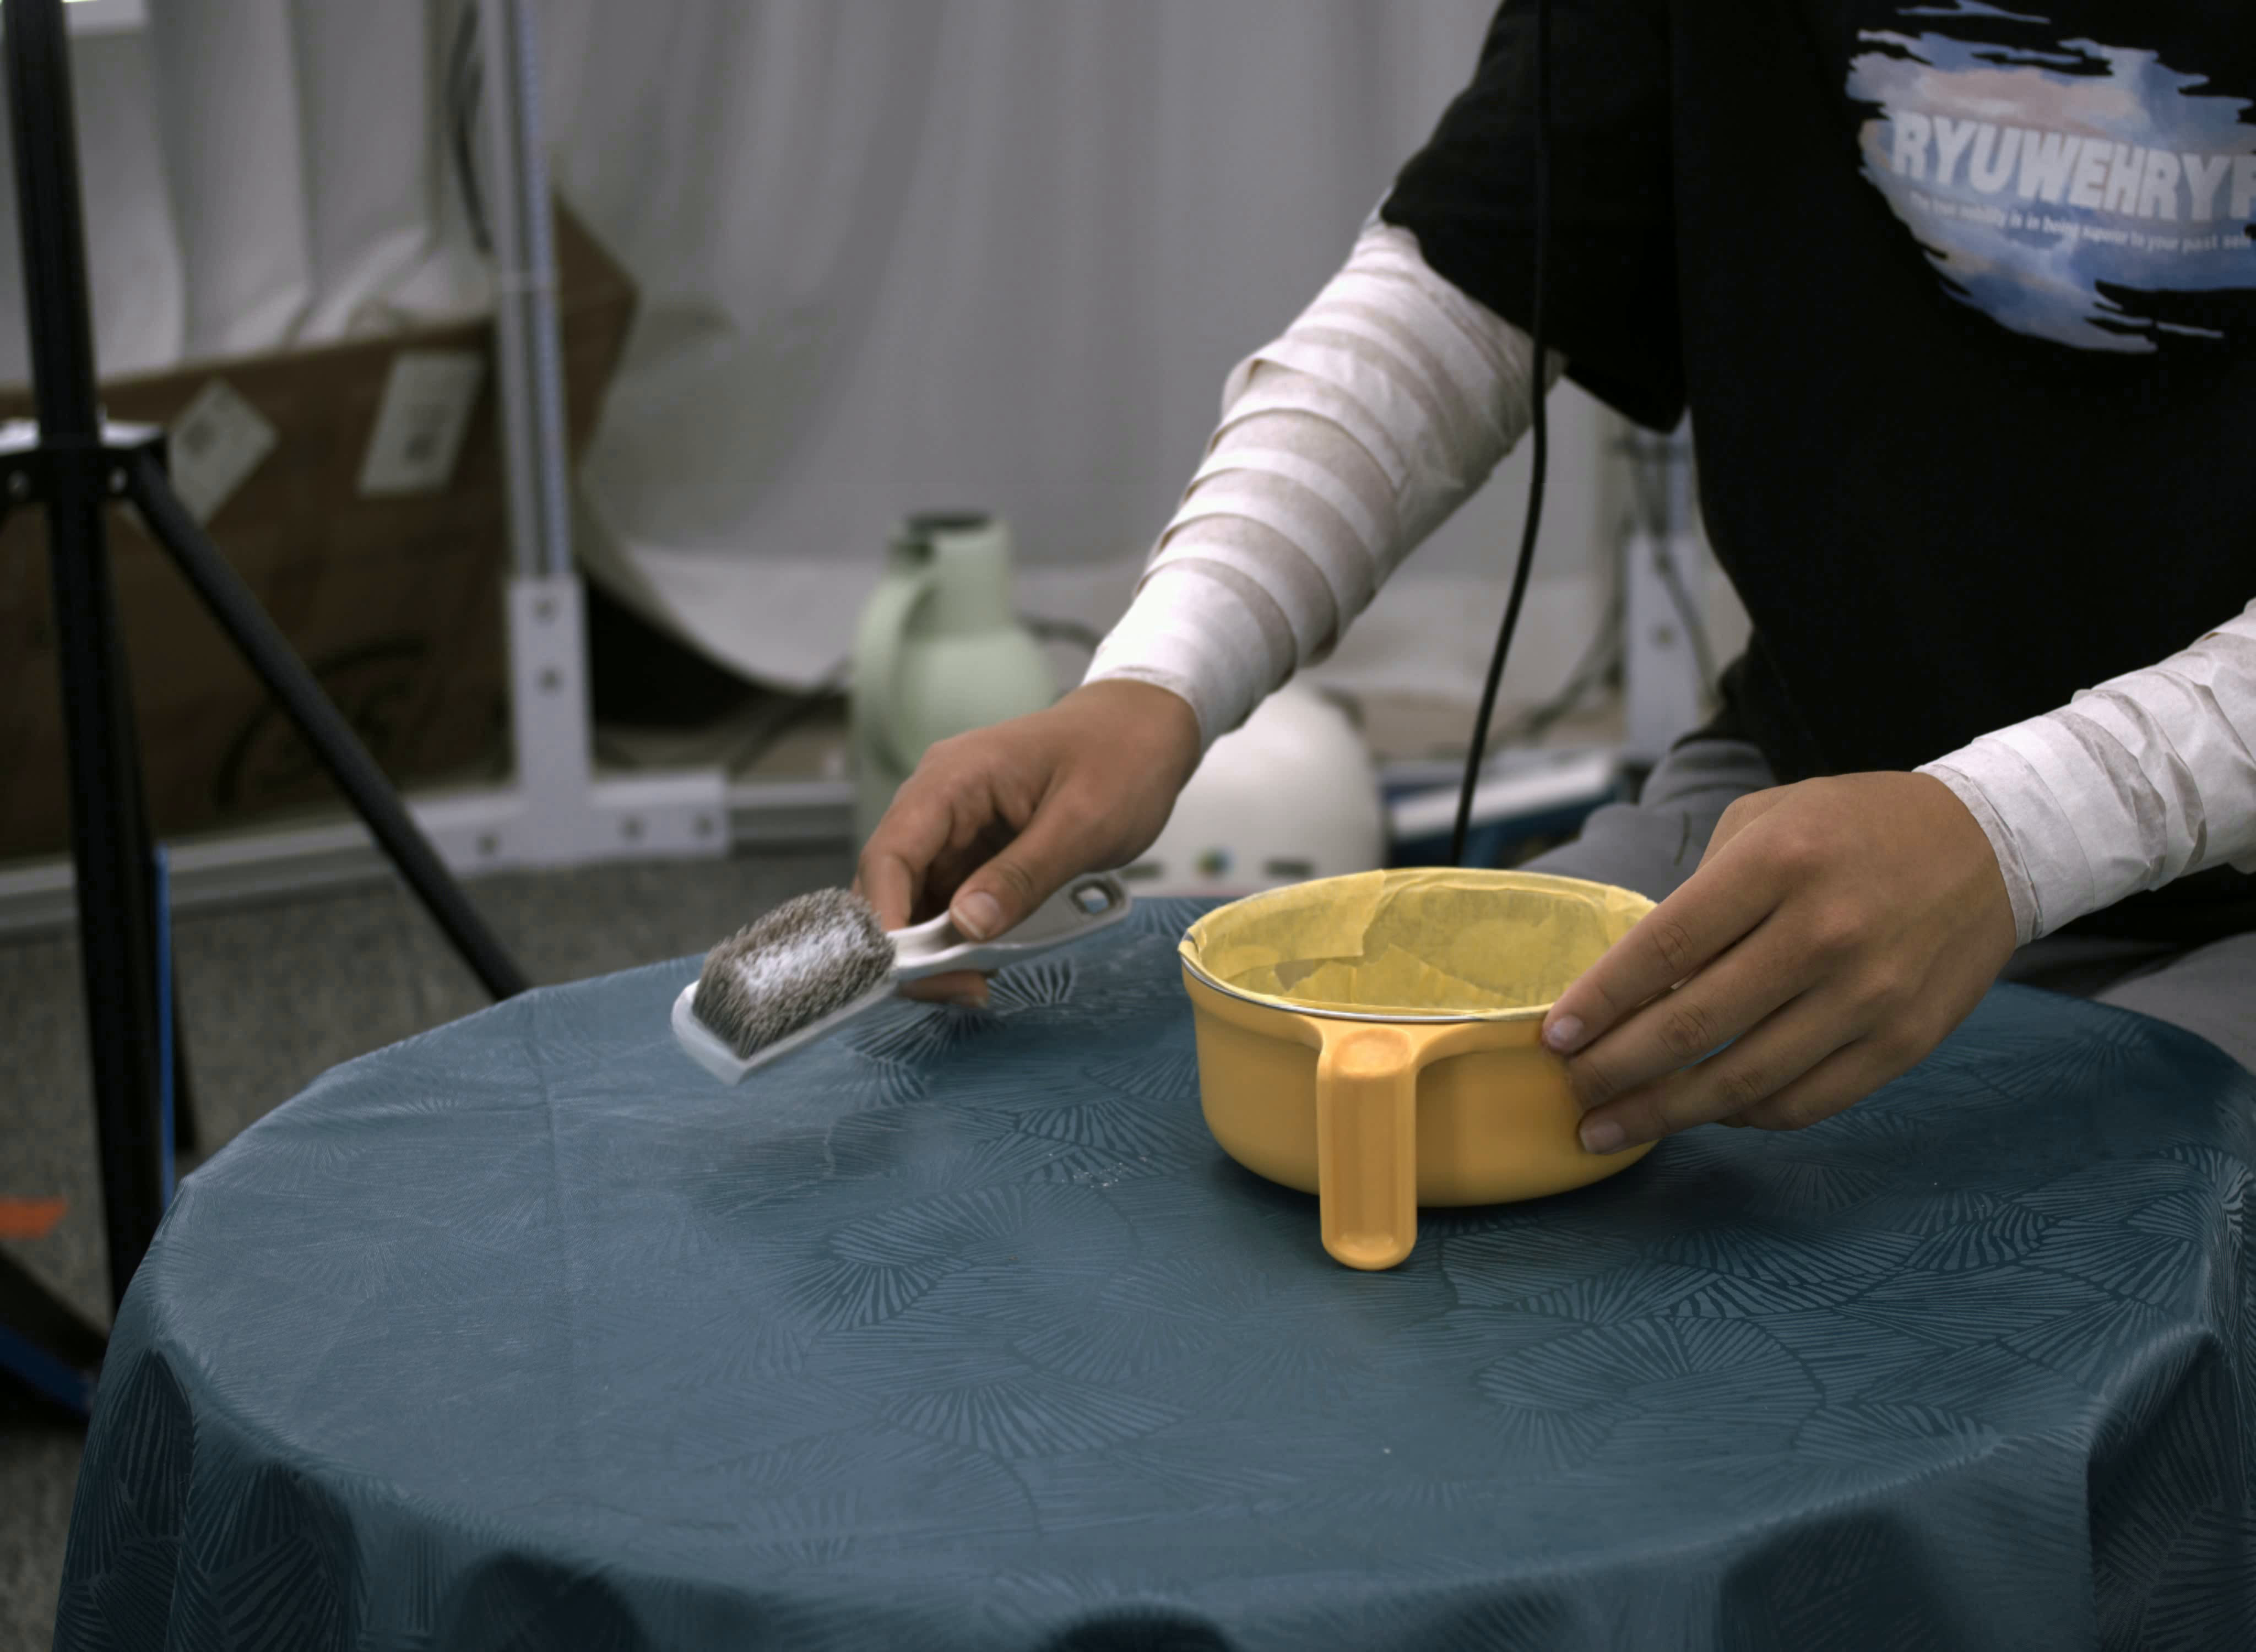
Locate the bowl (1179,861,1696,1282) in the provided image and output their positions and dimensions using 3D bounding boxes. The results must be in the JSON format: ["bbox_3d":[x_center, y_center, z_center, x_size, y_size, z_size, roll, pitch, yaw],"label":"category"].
[{"bbox_3d":[0.088,0.069,1.560,0.154,0.074,0.178,5,17,12],"label":"bowl"}]

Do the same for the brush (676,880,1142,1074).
[{"bbox_3d":[-0.055,0.033,1.675,0.035,0.051,0.238,53,33,15],"label":"brush"}]
